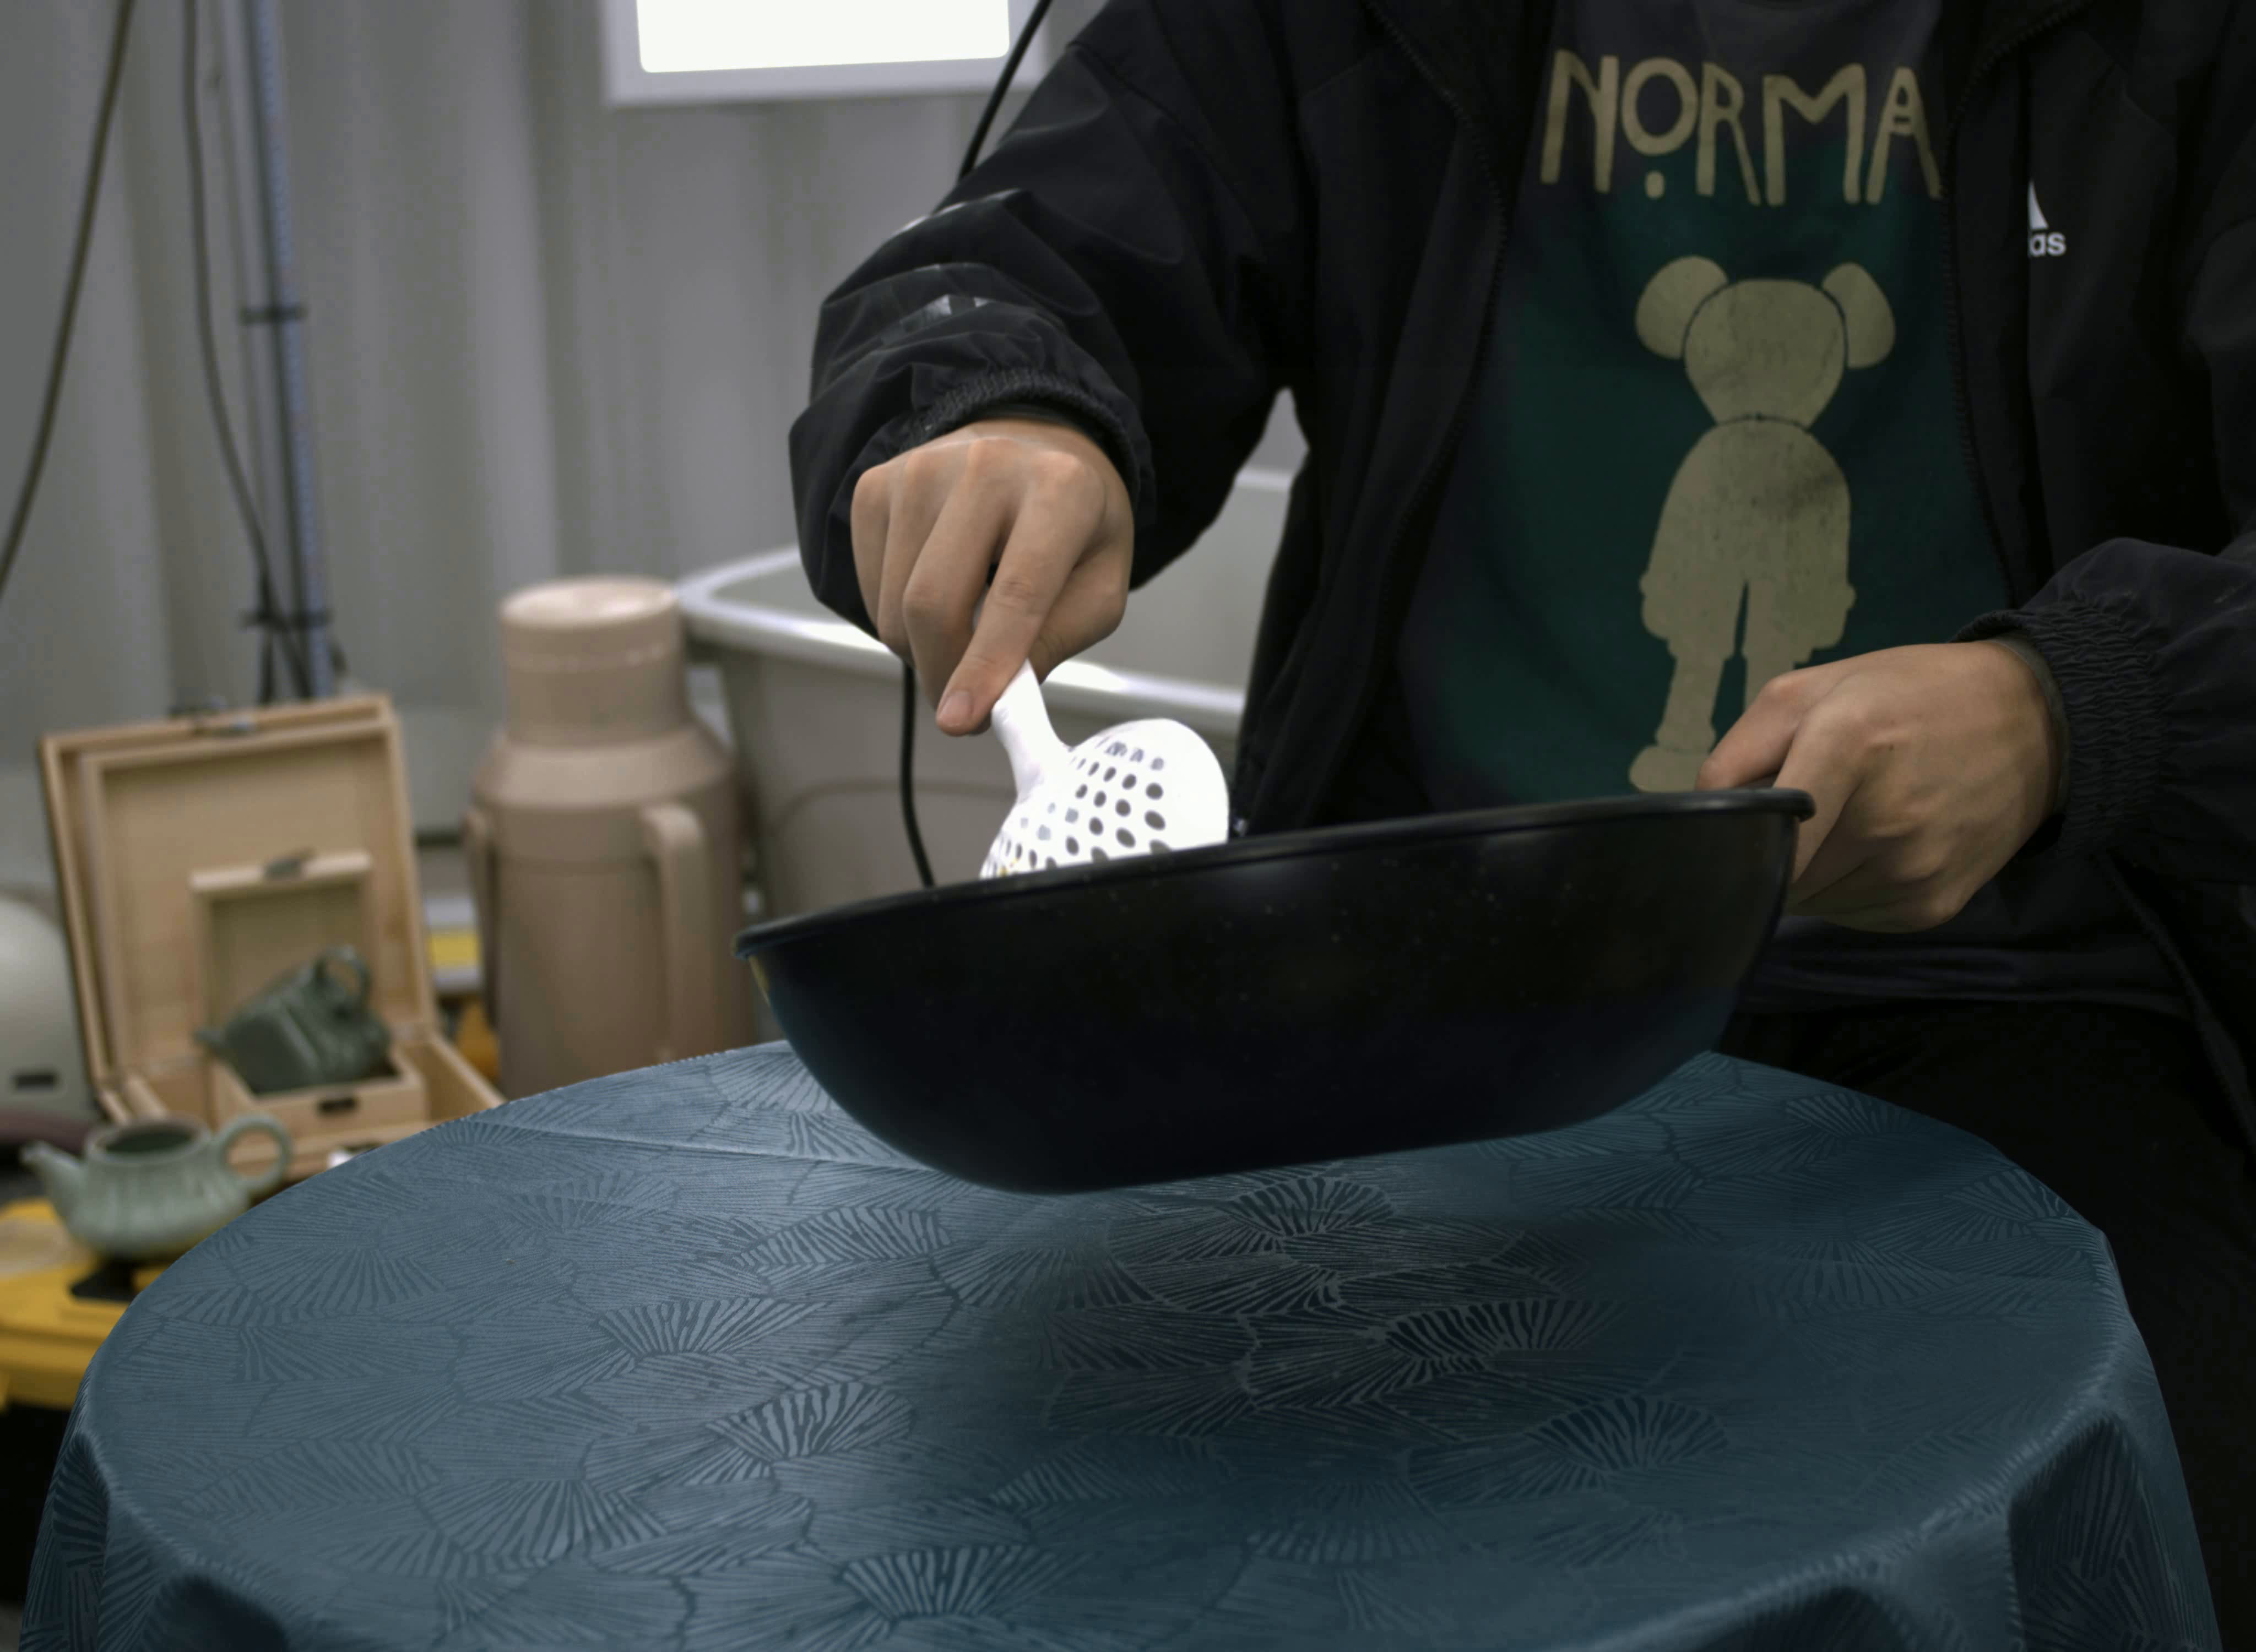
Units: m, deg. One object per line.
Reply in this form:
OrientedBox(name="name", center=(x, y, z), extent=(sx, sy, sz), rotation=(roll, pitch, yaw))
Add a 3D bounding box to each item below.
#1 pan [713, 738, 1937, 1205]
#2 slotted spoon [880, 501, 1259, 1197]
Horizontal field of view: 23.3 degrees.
OrientedBox(name="pan", center=(0.097, 0.039, 1.598), extent=(0.310, 0.112, 0.474), rotation=(-9, -3, 43))
OrientedBox(name="slotted spoon", center=(-0.033, -0.015, 1.628), extent=(0.050, 0.136, 0.352), rotation=(19, 19, -17))
